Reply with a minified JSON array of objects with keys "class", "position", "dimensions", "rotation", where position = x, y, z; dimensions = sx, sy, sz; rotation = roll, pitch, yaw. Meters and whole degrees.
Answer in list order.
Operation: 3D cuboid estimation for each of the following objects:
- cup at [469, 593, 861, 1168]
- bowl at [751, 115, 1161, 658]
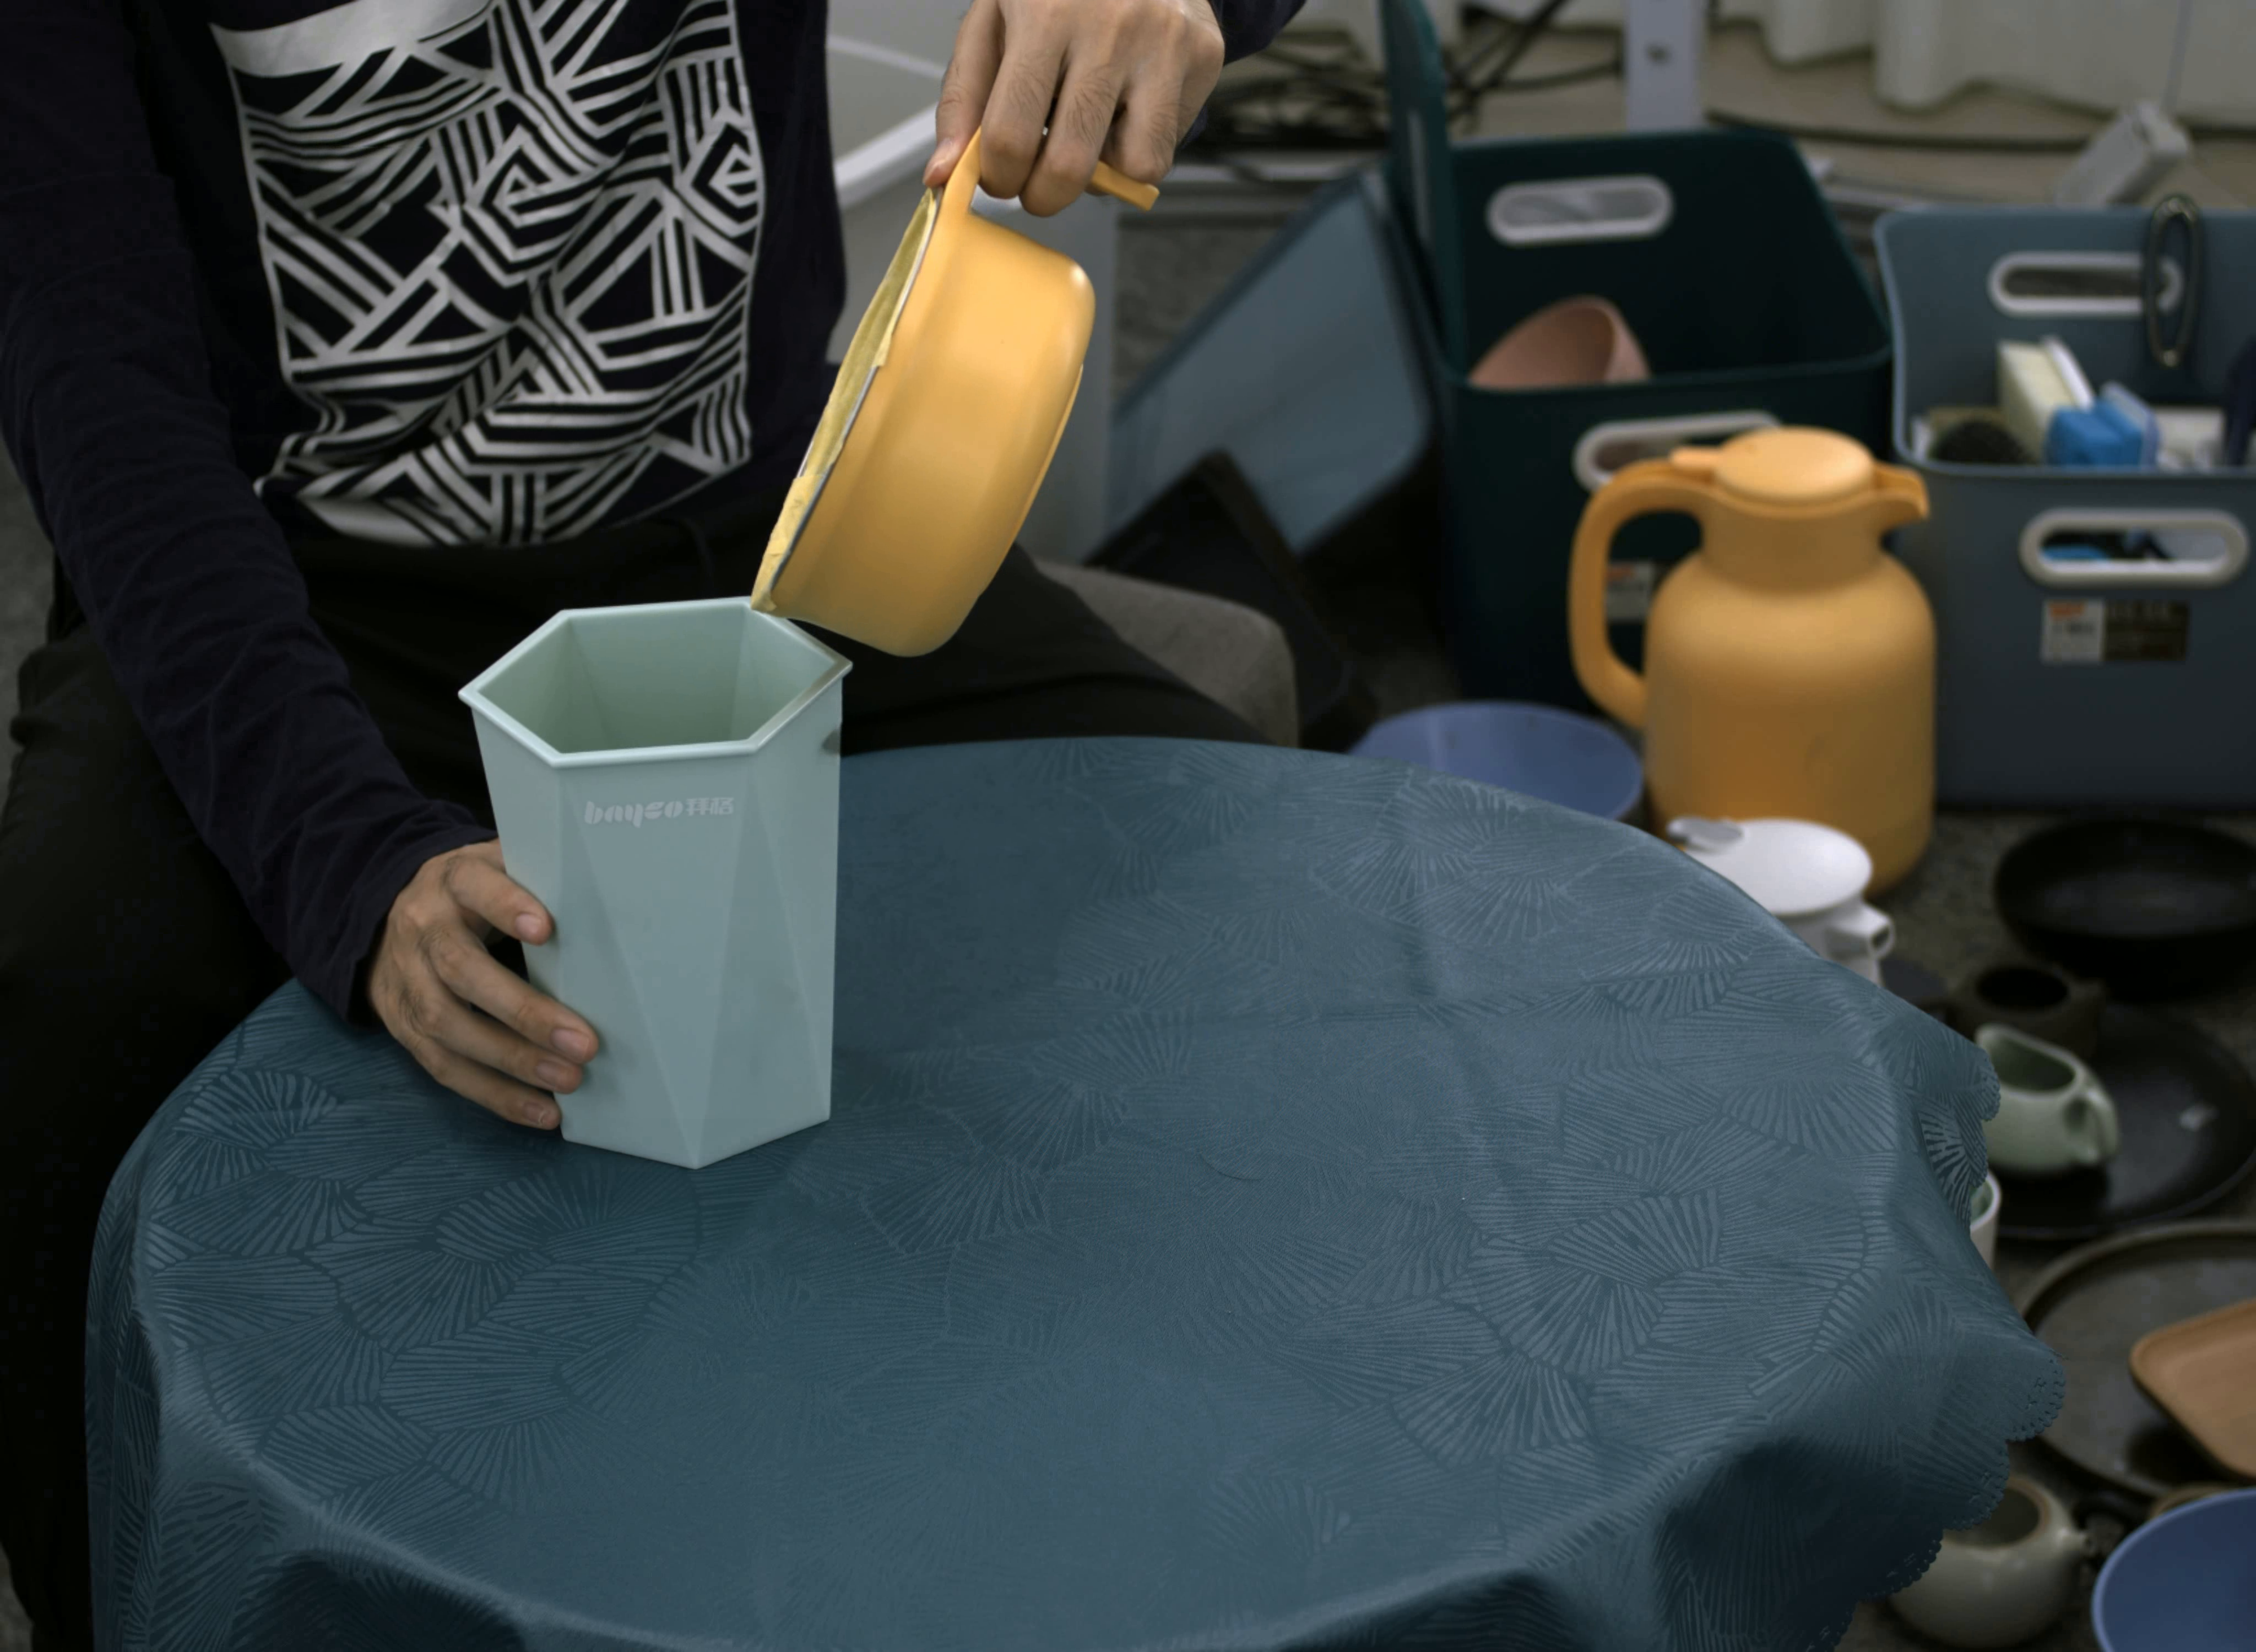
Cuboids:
[{"class":"cup","position":[-0.150,0.020,1.894],"dimensions":[0.130,0.161,0.116],"rotation":[-4,25,-4]},{"class":"bowl","position":[-0.057,-0.140,1.830],"dimensions":[0.074,0.180,0.153],"rotation":[23,0,-4]}]
